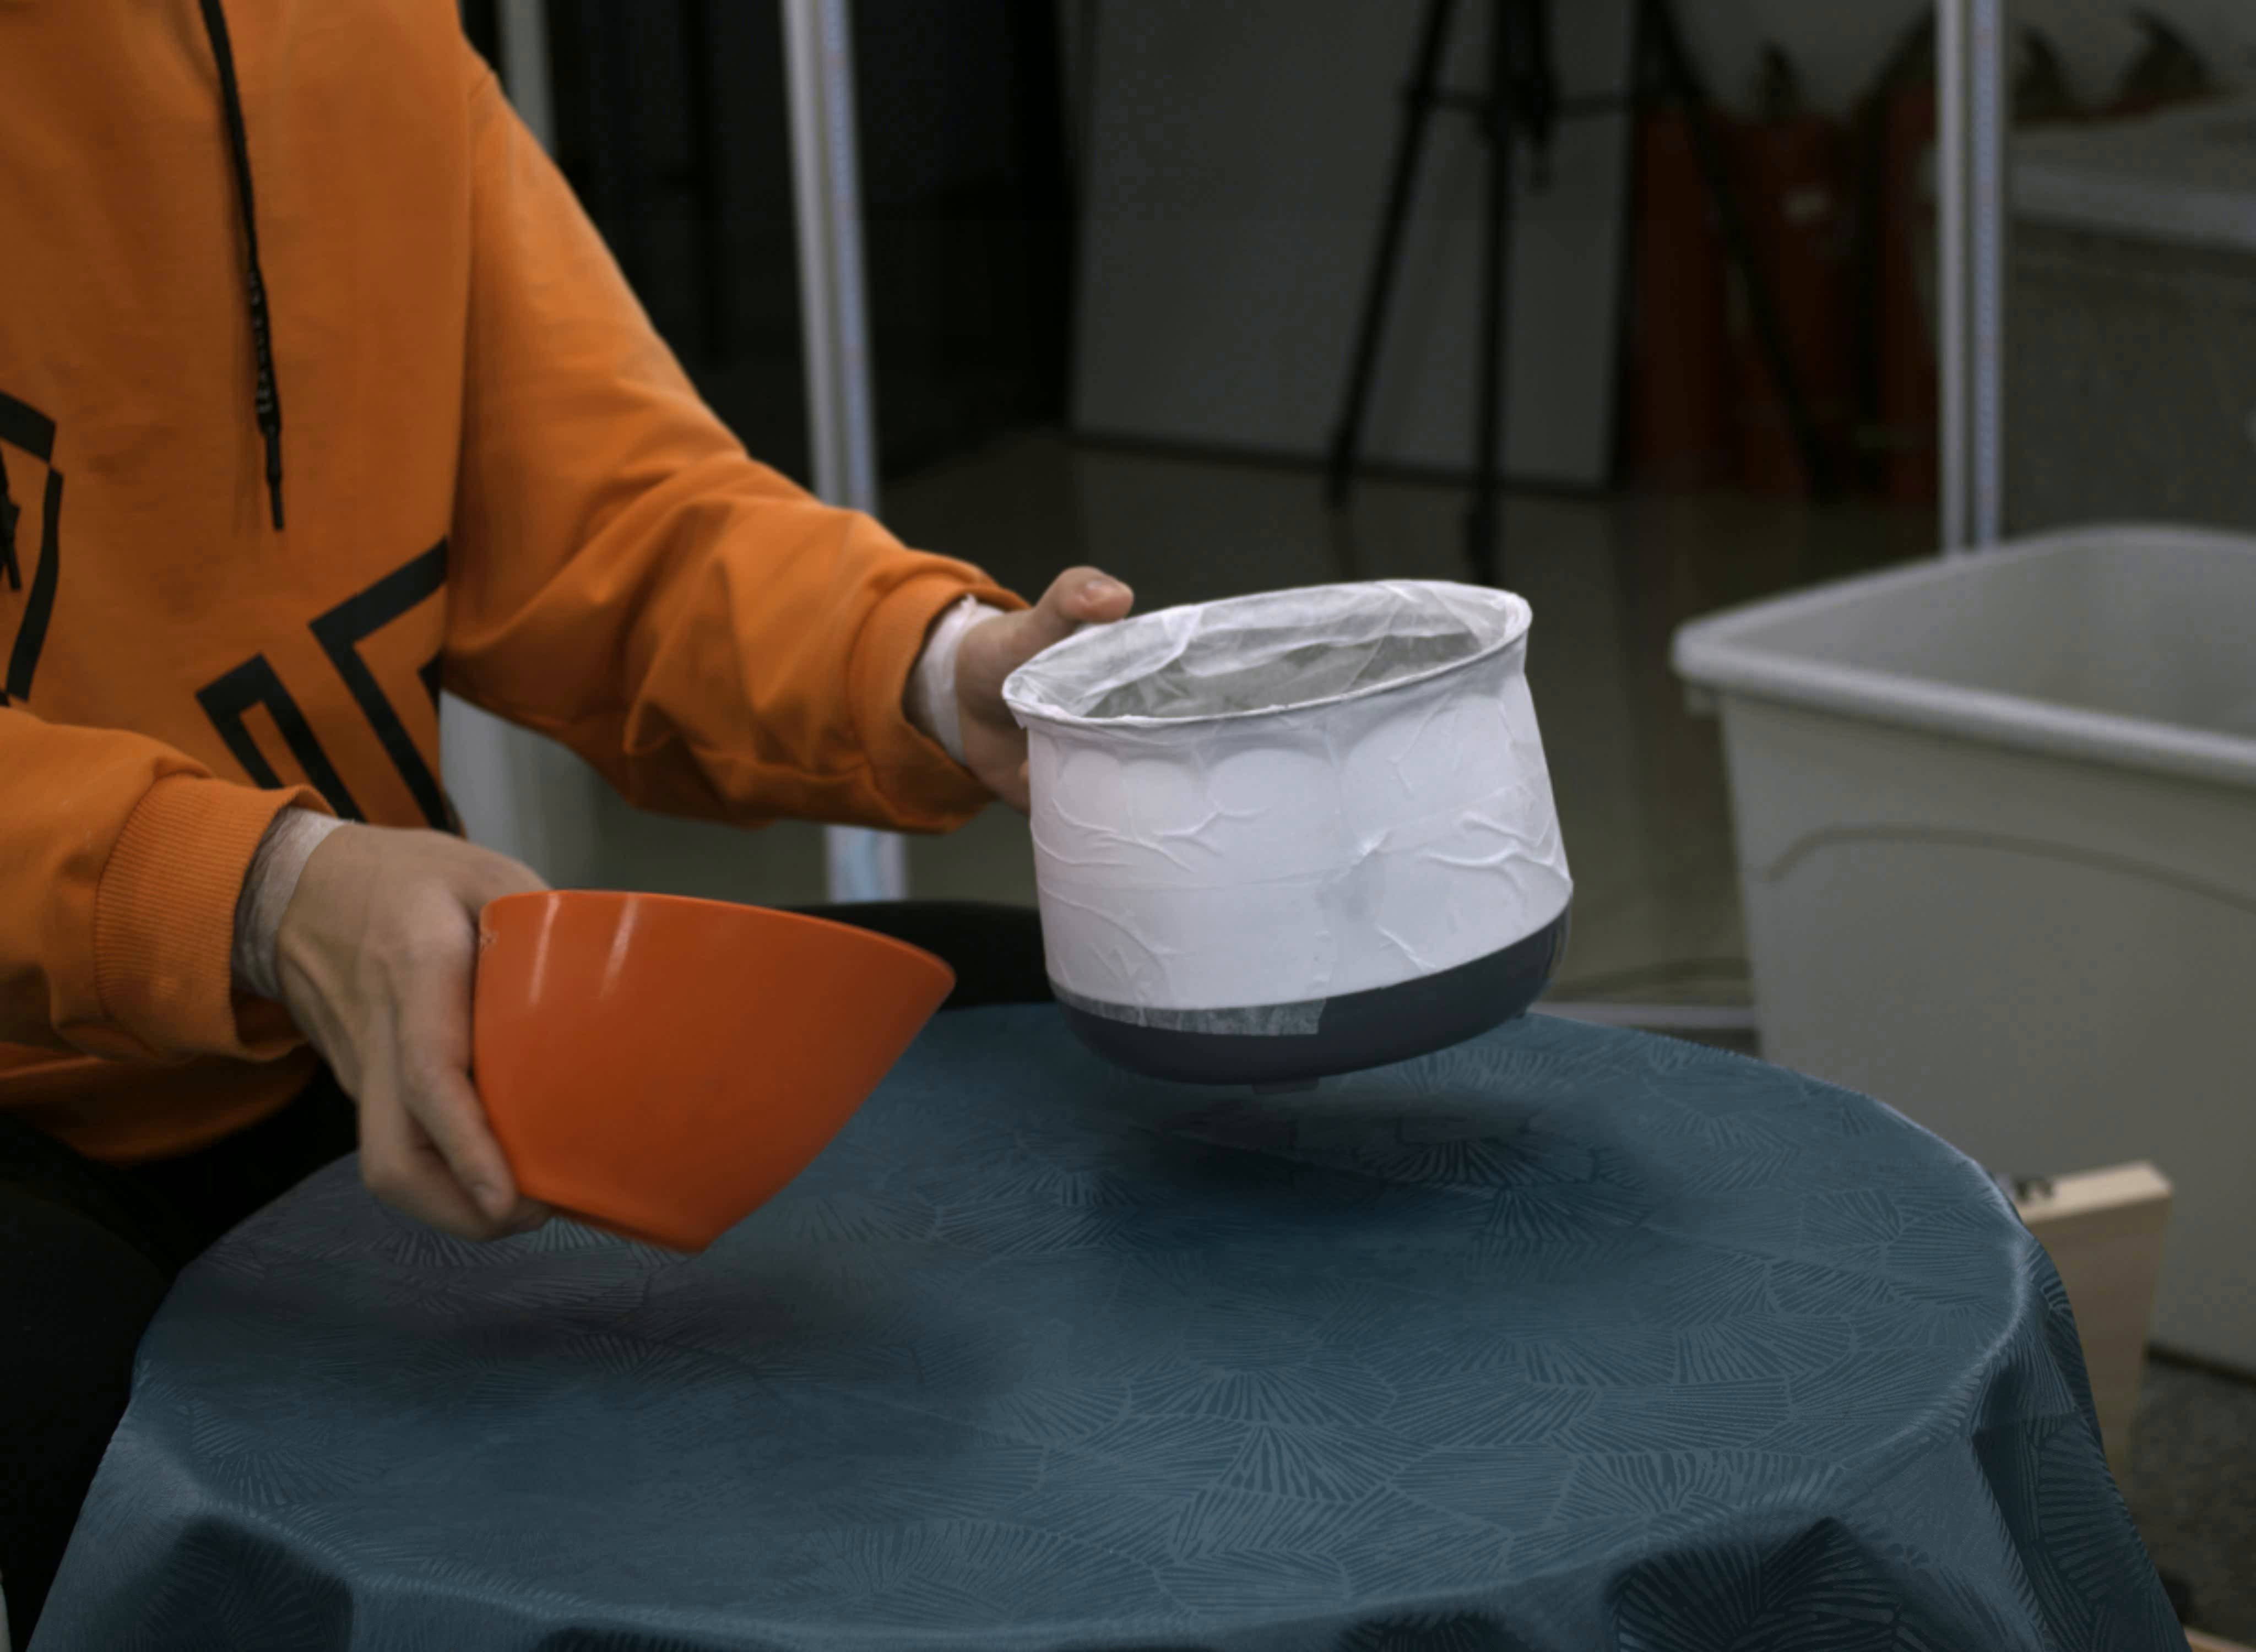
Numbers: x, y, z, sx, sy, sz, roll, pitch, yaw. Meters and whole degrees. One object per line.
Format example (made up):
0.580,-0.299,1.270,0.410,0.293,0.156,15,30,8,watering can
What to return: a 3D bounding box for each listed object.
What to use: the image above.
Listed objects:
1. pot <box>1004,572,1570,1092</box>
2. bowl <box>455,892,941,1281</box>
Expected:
0.039,-0.002,1.799,0.175,0.138,0.236,-17,15,-31,pot
-0.141,0.081,1.646,0.146,0.105,0.148,16,-12,3,bowl
